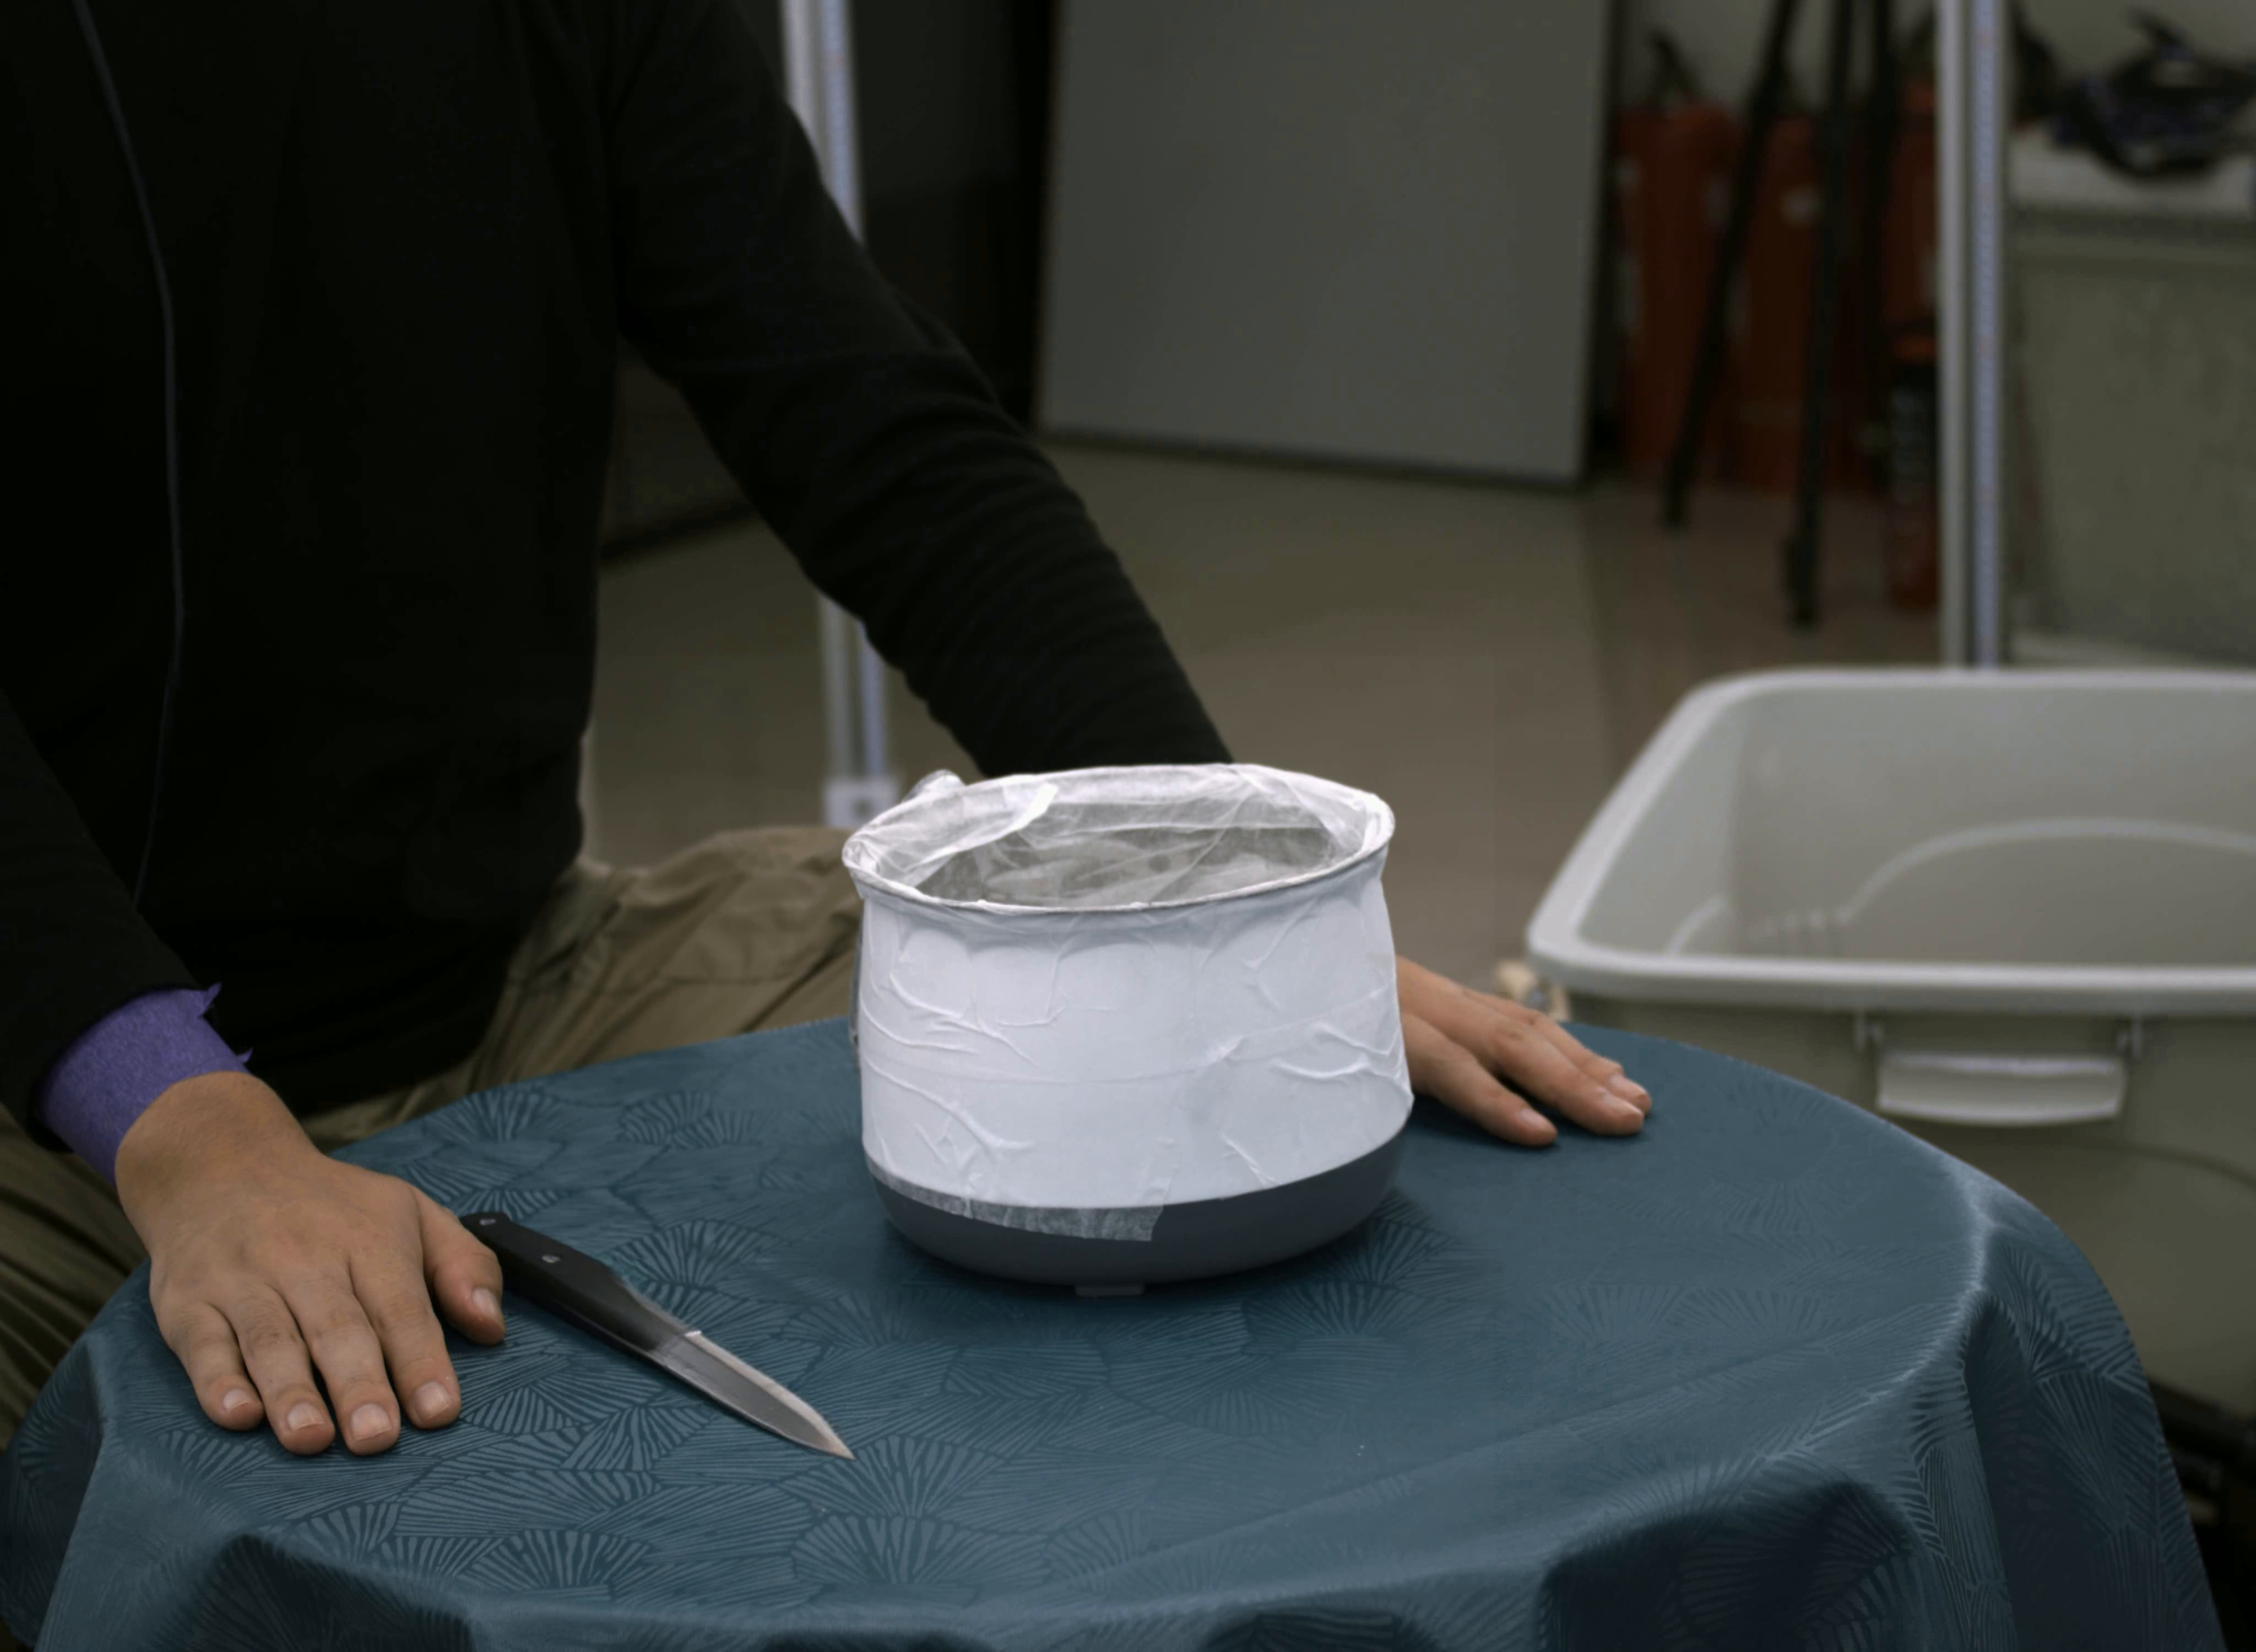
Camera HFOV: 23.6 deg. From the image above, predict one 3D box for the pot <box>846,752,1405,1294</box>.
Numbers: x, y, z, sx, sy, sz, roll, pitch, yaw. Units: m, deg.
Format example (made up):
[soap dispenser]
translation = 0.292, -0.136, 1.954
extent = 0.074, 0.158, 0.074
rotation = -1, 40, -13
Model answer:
[pot]
translation = -0.016, 0.056, 1.744
extent = 0.175, 0.138, 0.236
rotation = -13, 17, -35

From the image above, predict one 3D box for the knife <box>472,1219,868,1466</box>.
[knife]
translation = -0.142, 0.158, 1.646
extent = 0.024, 0.016, 0.241
rotation = -9, 17, -32
